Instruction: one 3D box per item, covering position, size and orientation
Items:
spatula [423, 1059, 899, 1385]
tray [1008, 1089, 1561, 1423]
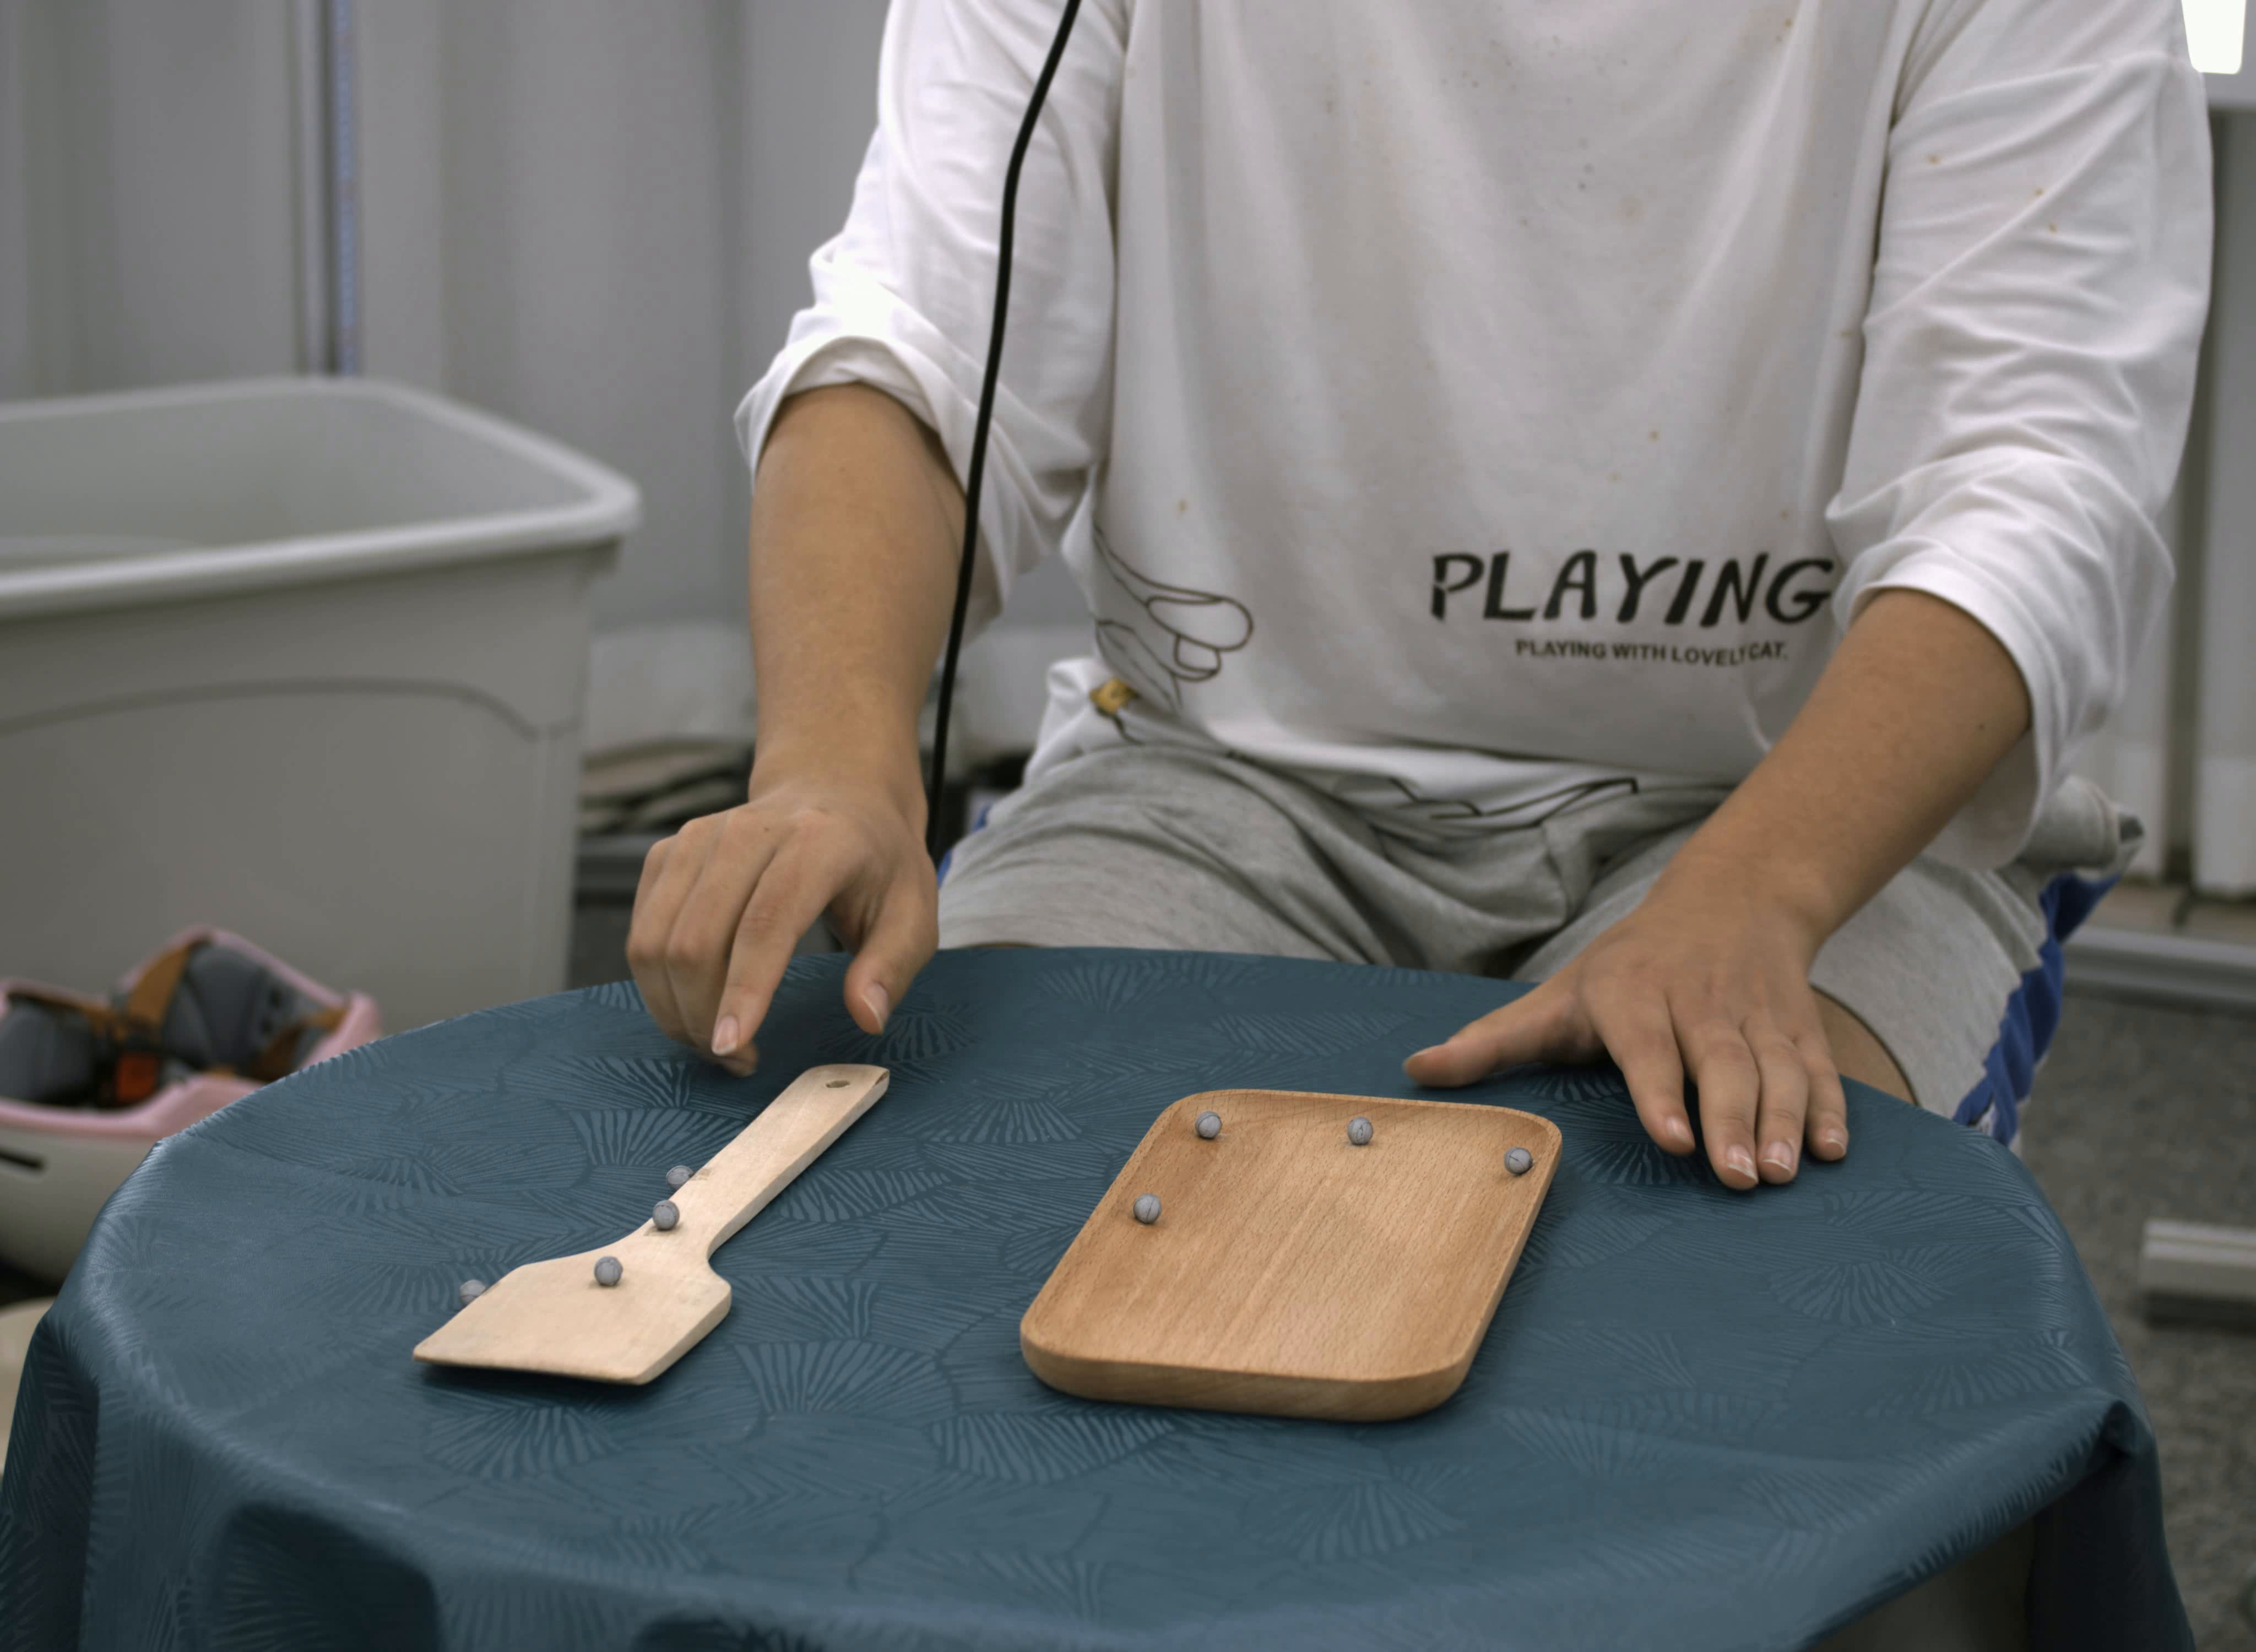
[{"bbox_3d":[-0.127,0.116,1.593,0.071,0.011,0.293,4,16,15],"label":"spatula"},{"bbox_3d":[0.051,0.124,1.560,0.129,0.023,0.250,2,16,13],"label":"tray"}]
